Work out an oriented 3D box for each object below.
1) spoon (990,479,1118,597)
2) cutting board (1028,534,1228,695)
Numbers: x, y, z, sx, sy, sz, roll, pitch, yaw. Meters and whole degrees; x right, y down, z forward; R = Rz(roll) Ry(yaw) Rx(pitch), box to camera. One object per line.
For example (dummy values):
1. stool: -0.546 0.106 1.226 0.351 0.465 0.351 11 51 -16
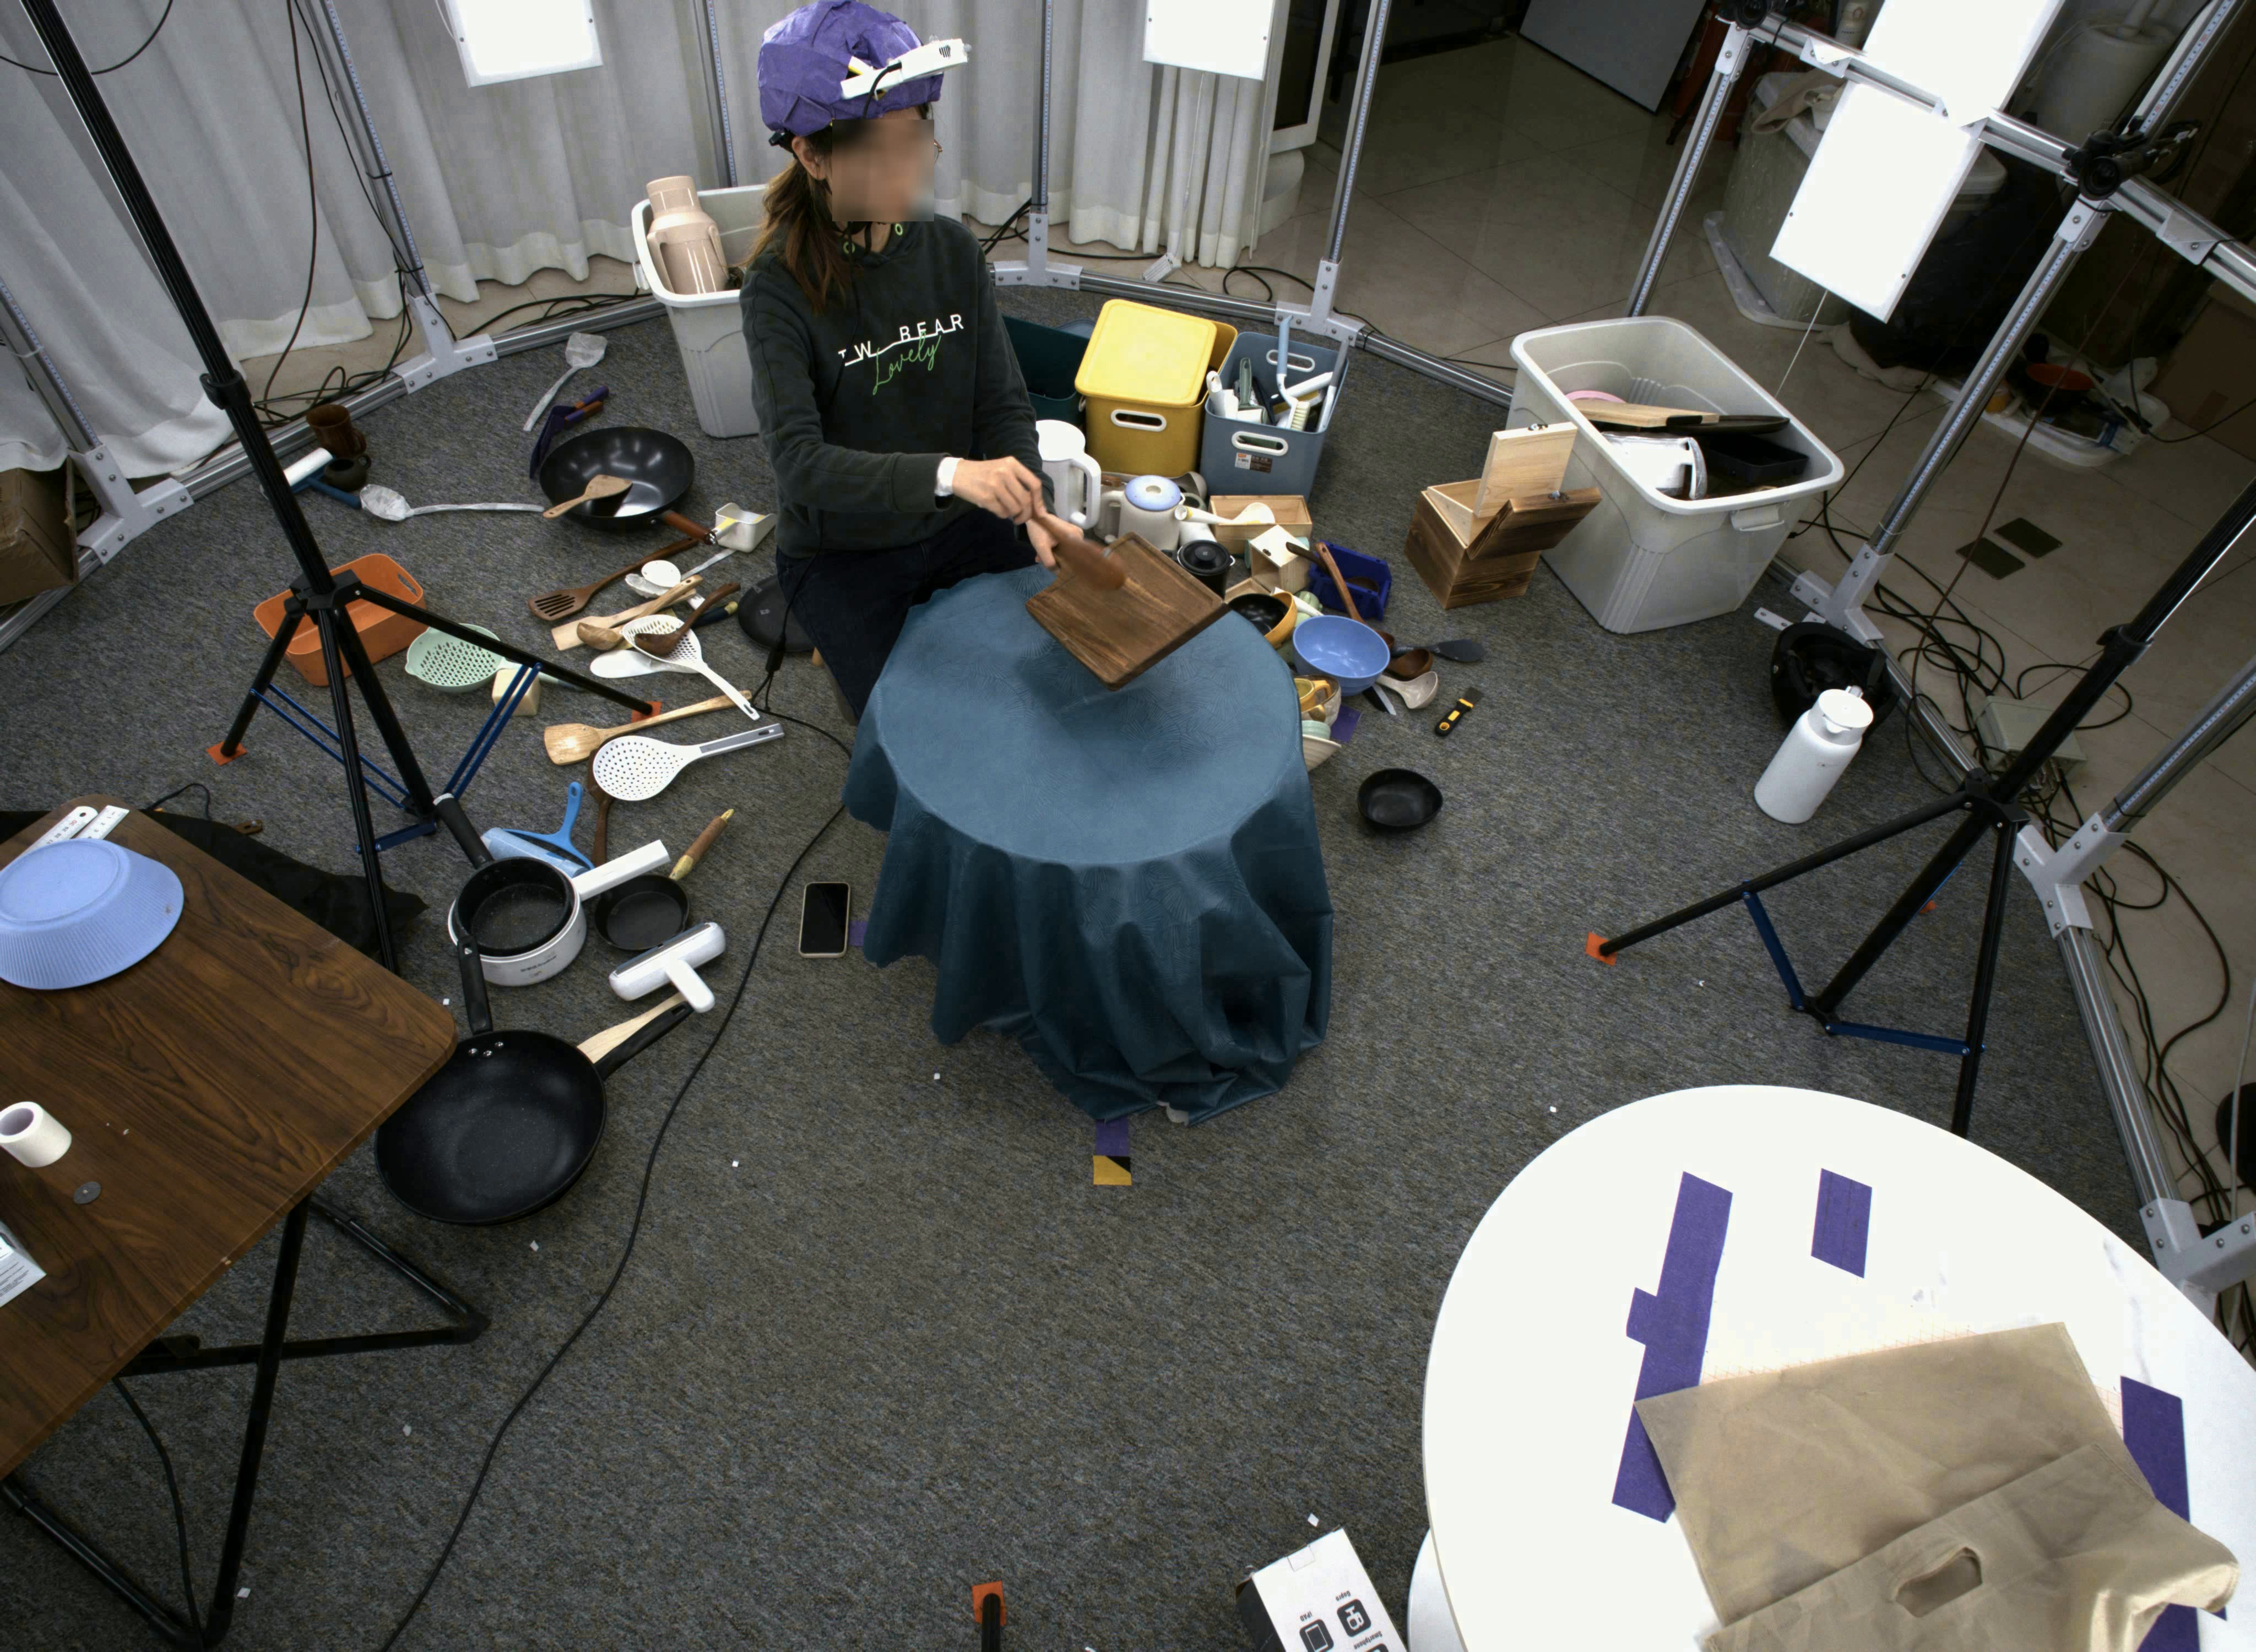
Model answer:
1. spoon: -0.097 -0.373 1.691 0.213 0.075 0.017 42 63 -20
2. cutting board: -0.029 -0.327 1.825 0.201 0.022 0.359 -36 45 -7
